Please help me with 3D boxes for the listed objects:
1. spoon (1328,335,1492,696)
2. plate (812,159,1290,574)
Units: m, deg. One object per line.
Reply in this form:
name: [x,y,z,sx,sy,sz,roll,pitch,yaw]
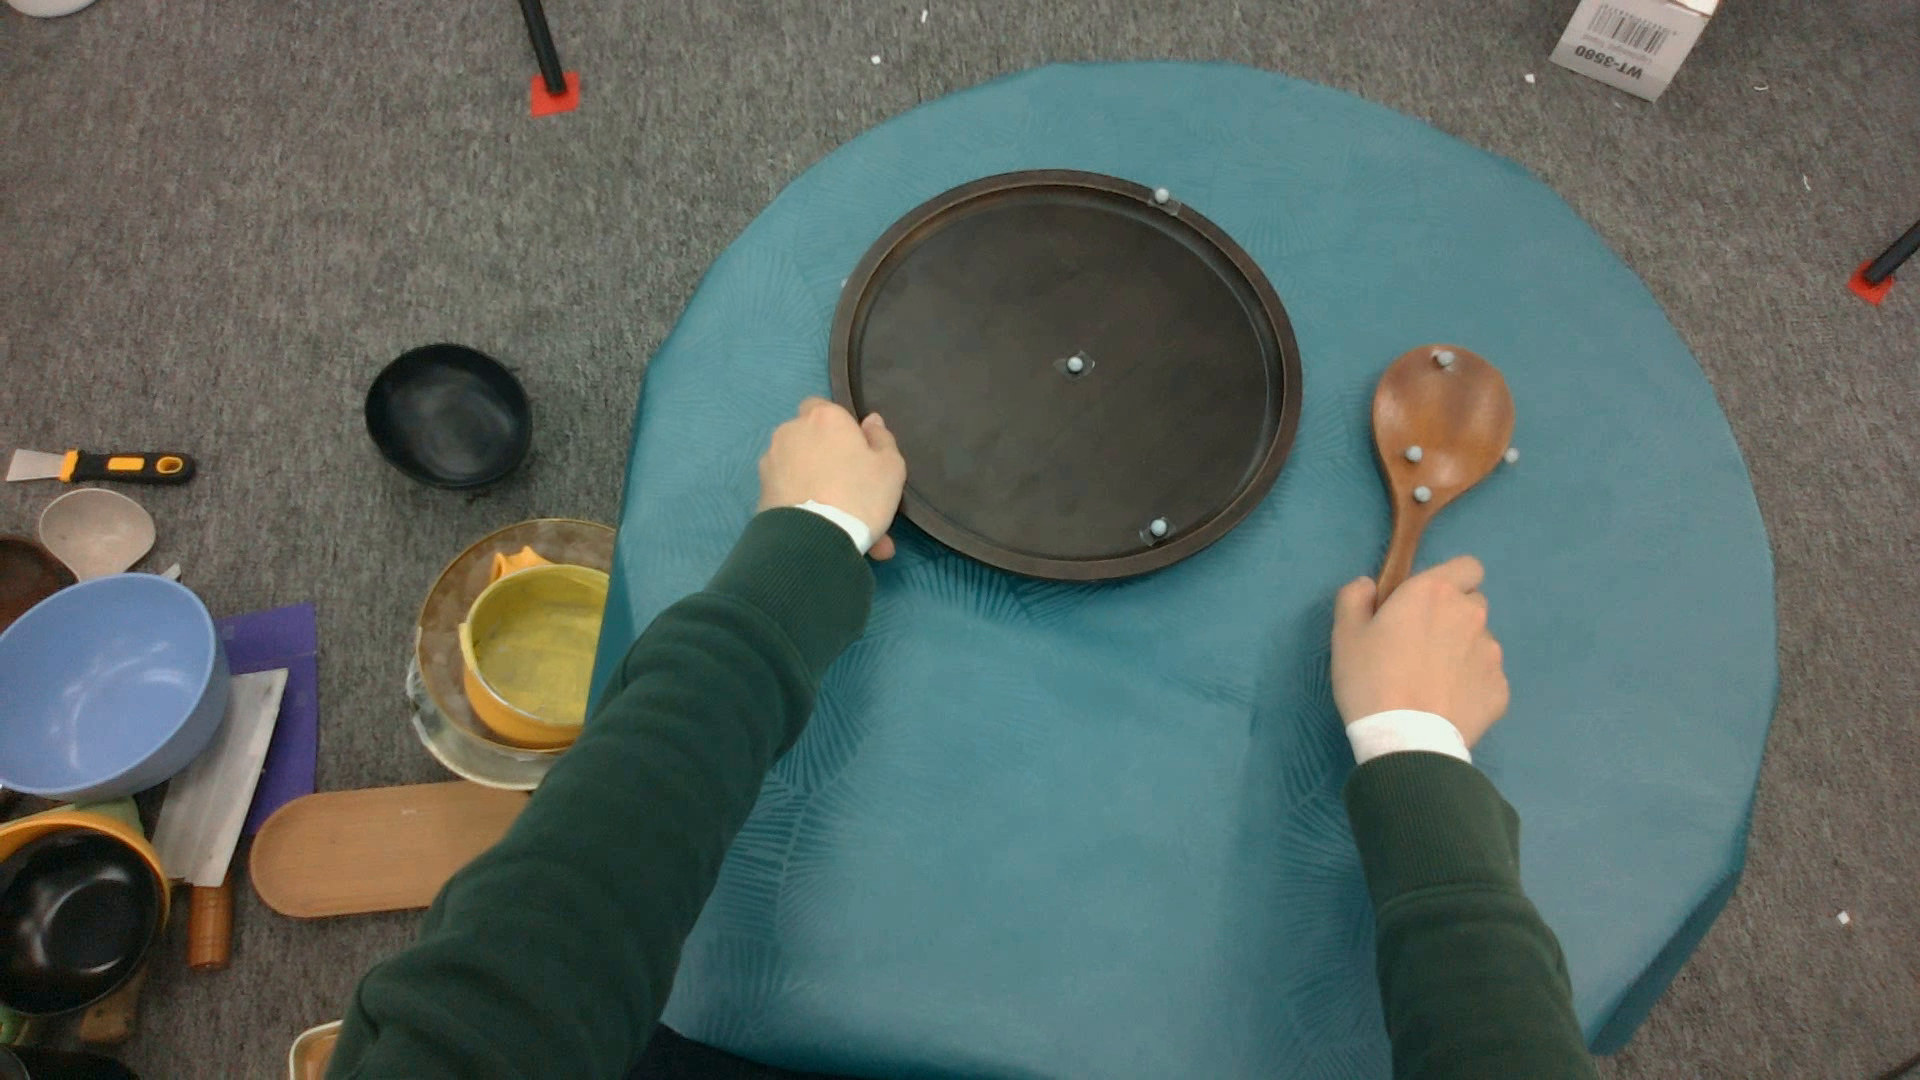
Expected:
spoon: [0.226,-0.017,0.714,0.075,0.017,0.217,20,65,5]
plate: [0.048,-0.097,0.735,0.255,0.029,0.255,2,64,-3]
